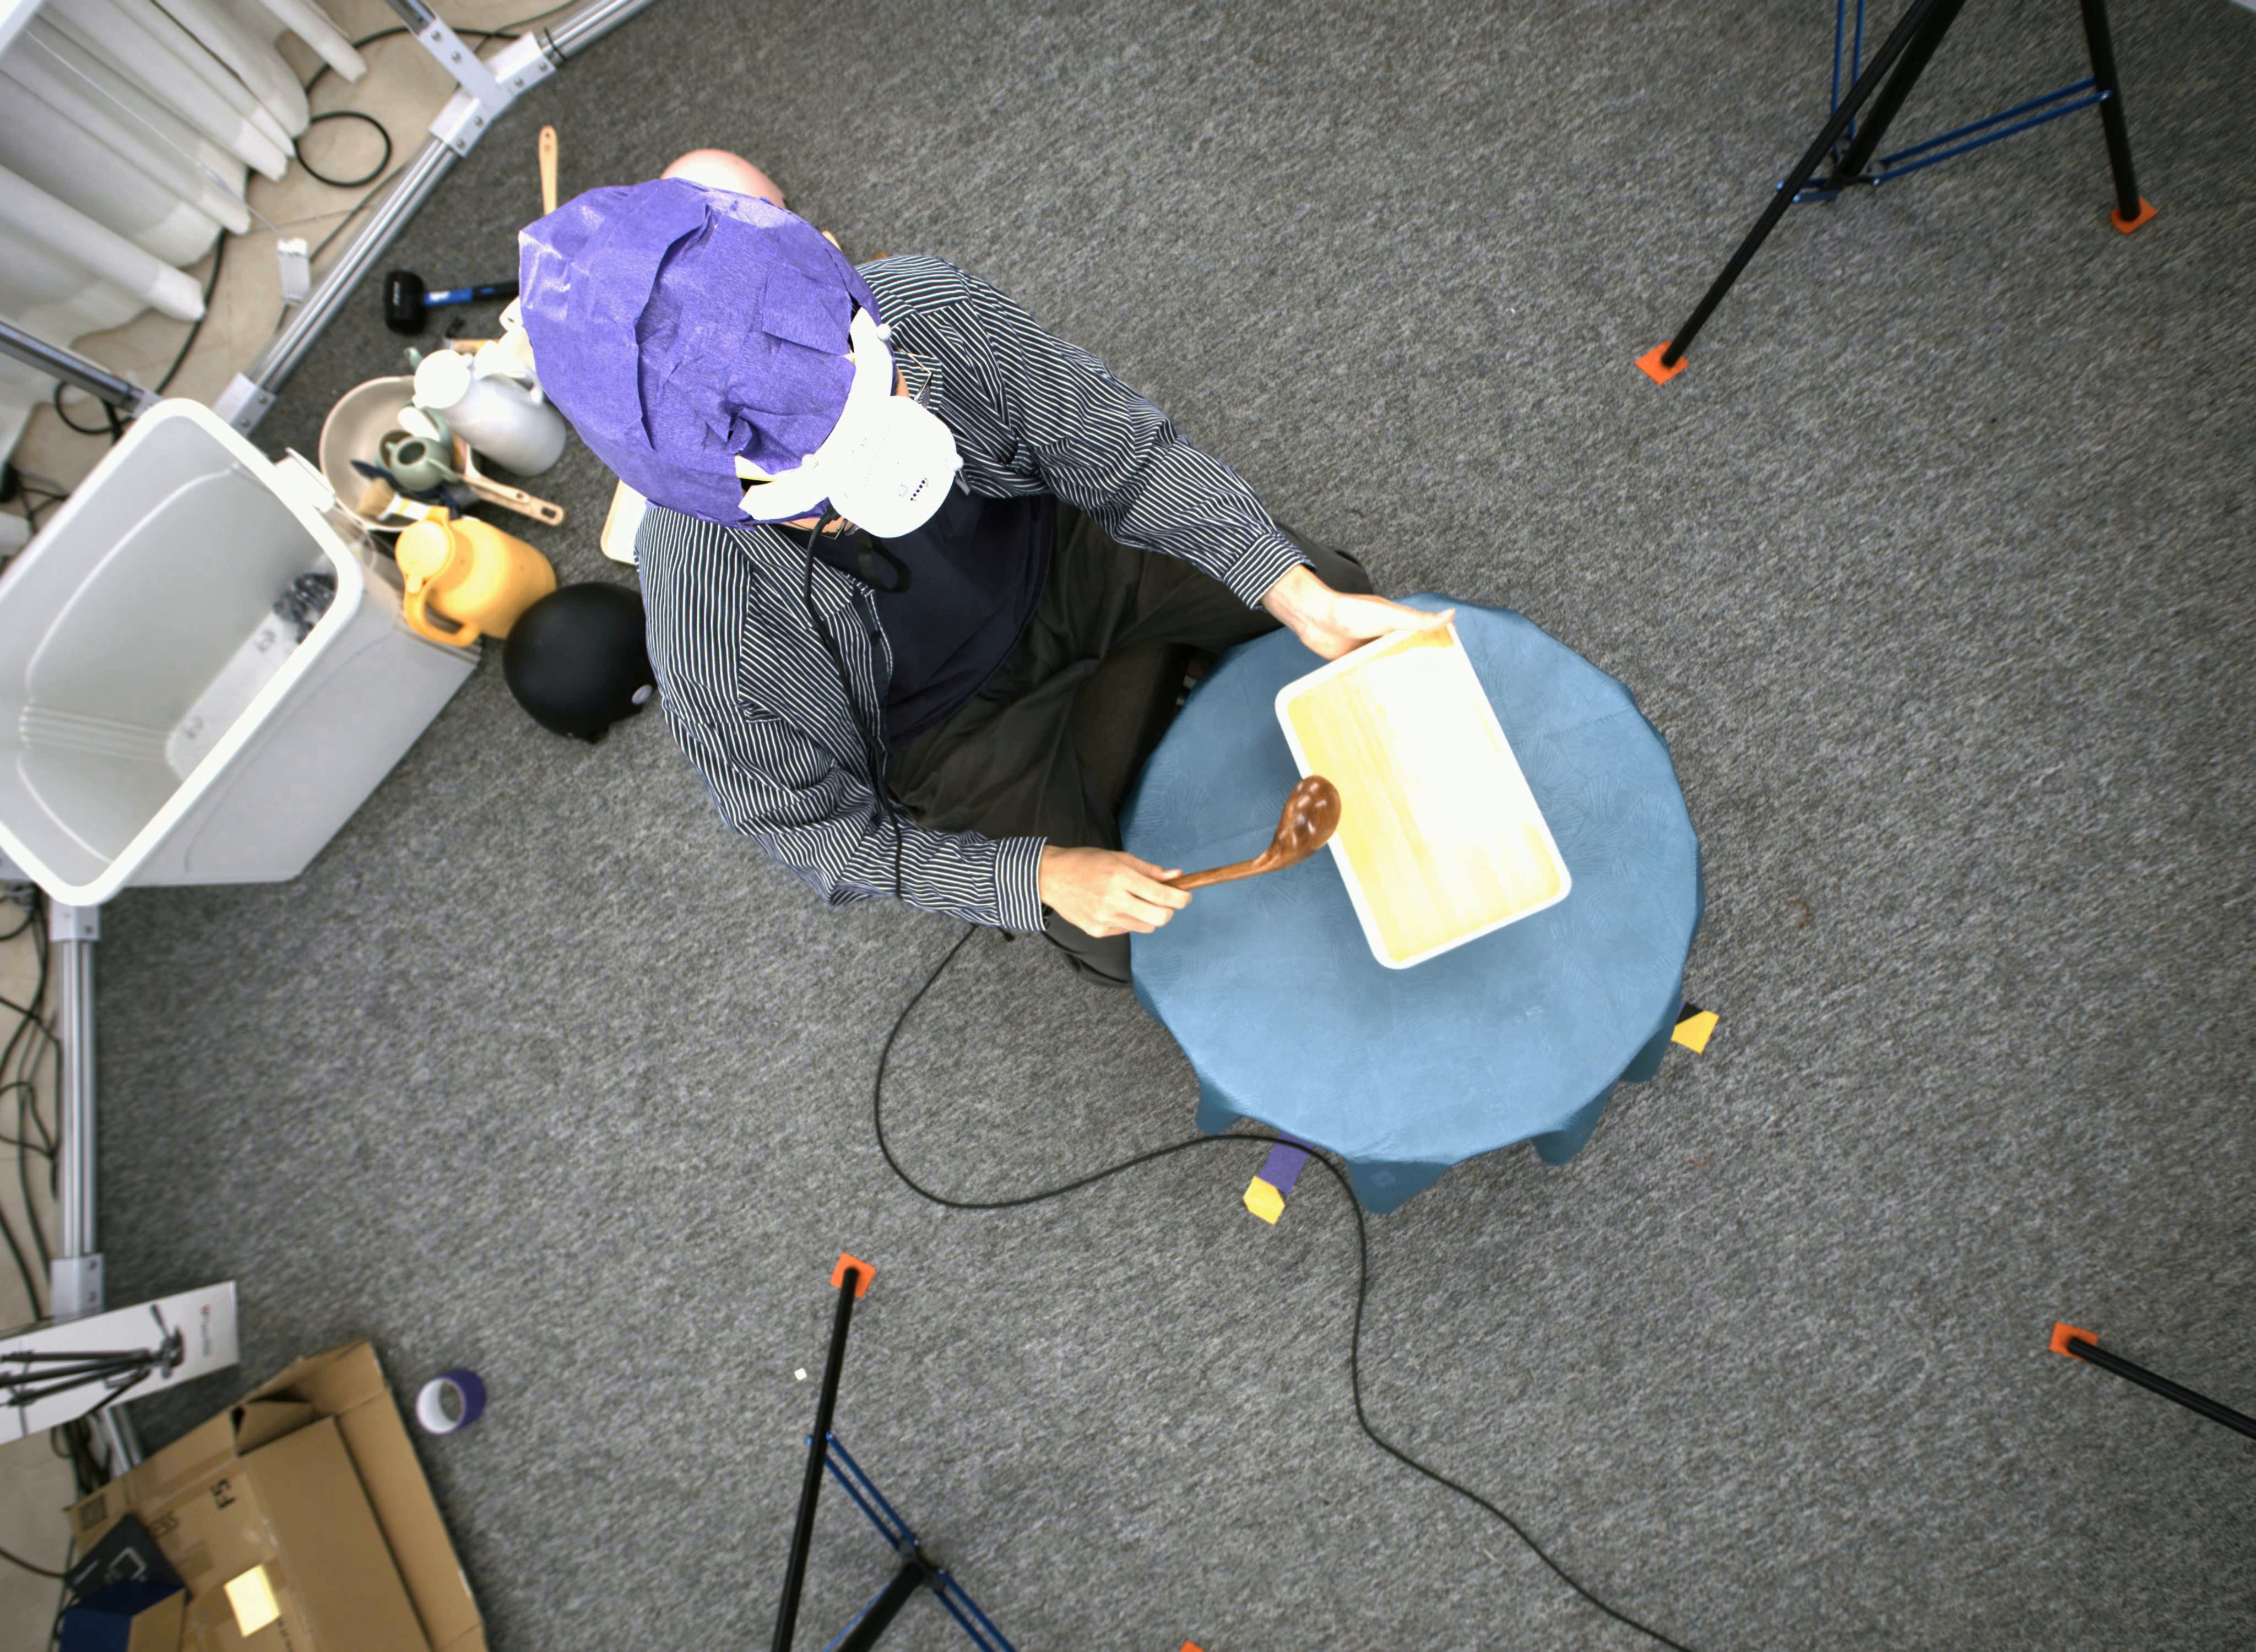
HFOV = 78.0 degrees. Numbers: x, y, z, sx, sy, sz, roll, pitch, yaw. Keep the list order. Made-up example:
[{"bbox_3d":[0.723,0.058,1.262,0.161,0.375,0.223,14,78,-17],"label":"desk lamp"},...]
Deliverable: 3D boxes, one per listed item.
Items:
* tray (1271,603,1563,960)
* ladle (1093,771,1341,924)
[{"bbox_3d":[0.267,-0.043,1.295,0.194,0.027,0.297,-25,76,23],"label":"tray"},{"bbox_3d":[0.075,0.021,1.306,0.278,0.082,0.075,-19,68,32],"label":"ladle"}]
